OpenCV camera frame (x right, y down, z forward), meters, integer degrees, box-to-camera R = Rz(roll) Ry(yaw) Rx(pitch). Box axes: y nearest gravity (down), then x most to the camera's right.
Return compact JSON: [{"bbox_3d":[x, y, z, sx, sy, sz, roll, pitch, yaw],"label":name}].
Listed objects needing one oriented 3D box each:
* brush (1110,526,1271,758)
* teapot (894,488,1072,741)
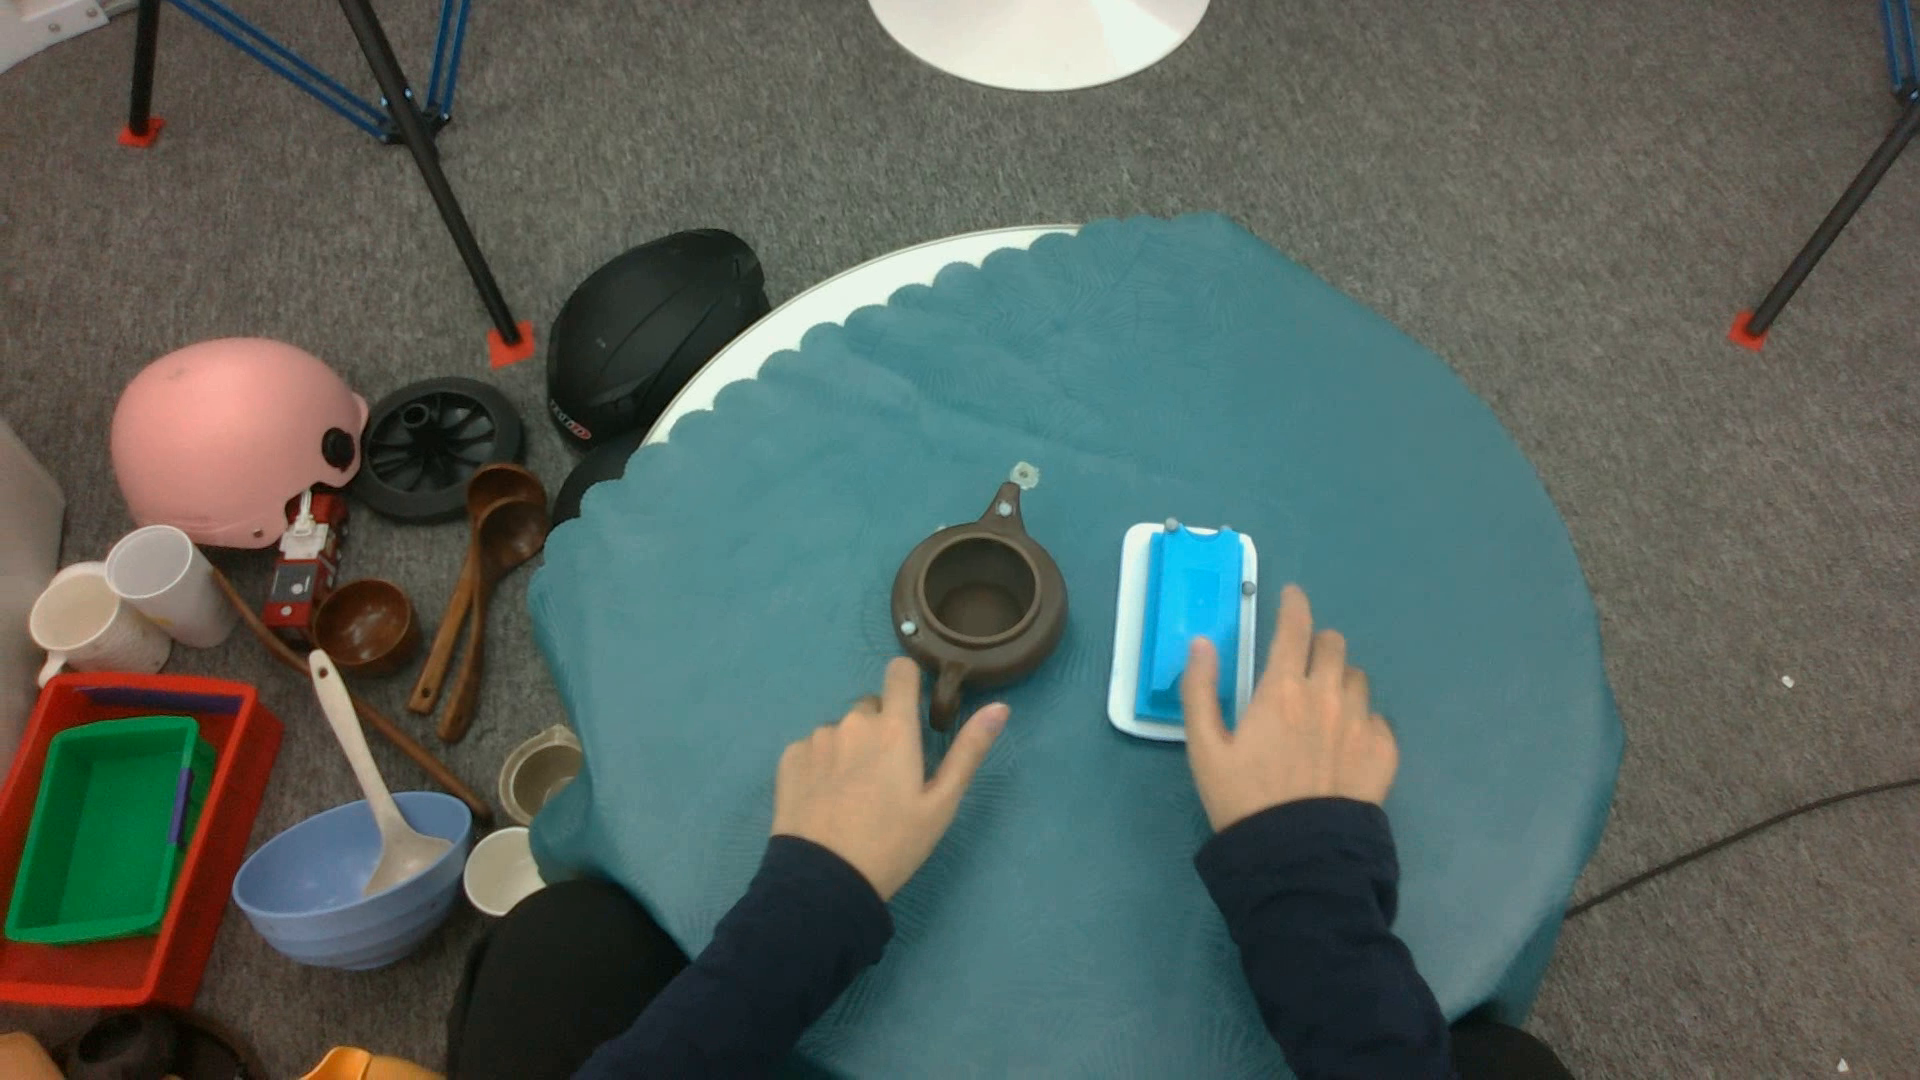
[{"bbox_3d":[0.134,0.050,0.785,0.084,0.055,0.144,7,57,9],"label":"brush"},{"bbox_3d":[0.013,0.044,0.795,0.102,0.053,0.154,8,60,8],"label":"teapot"}]
